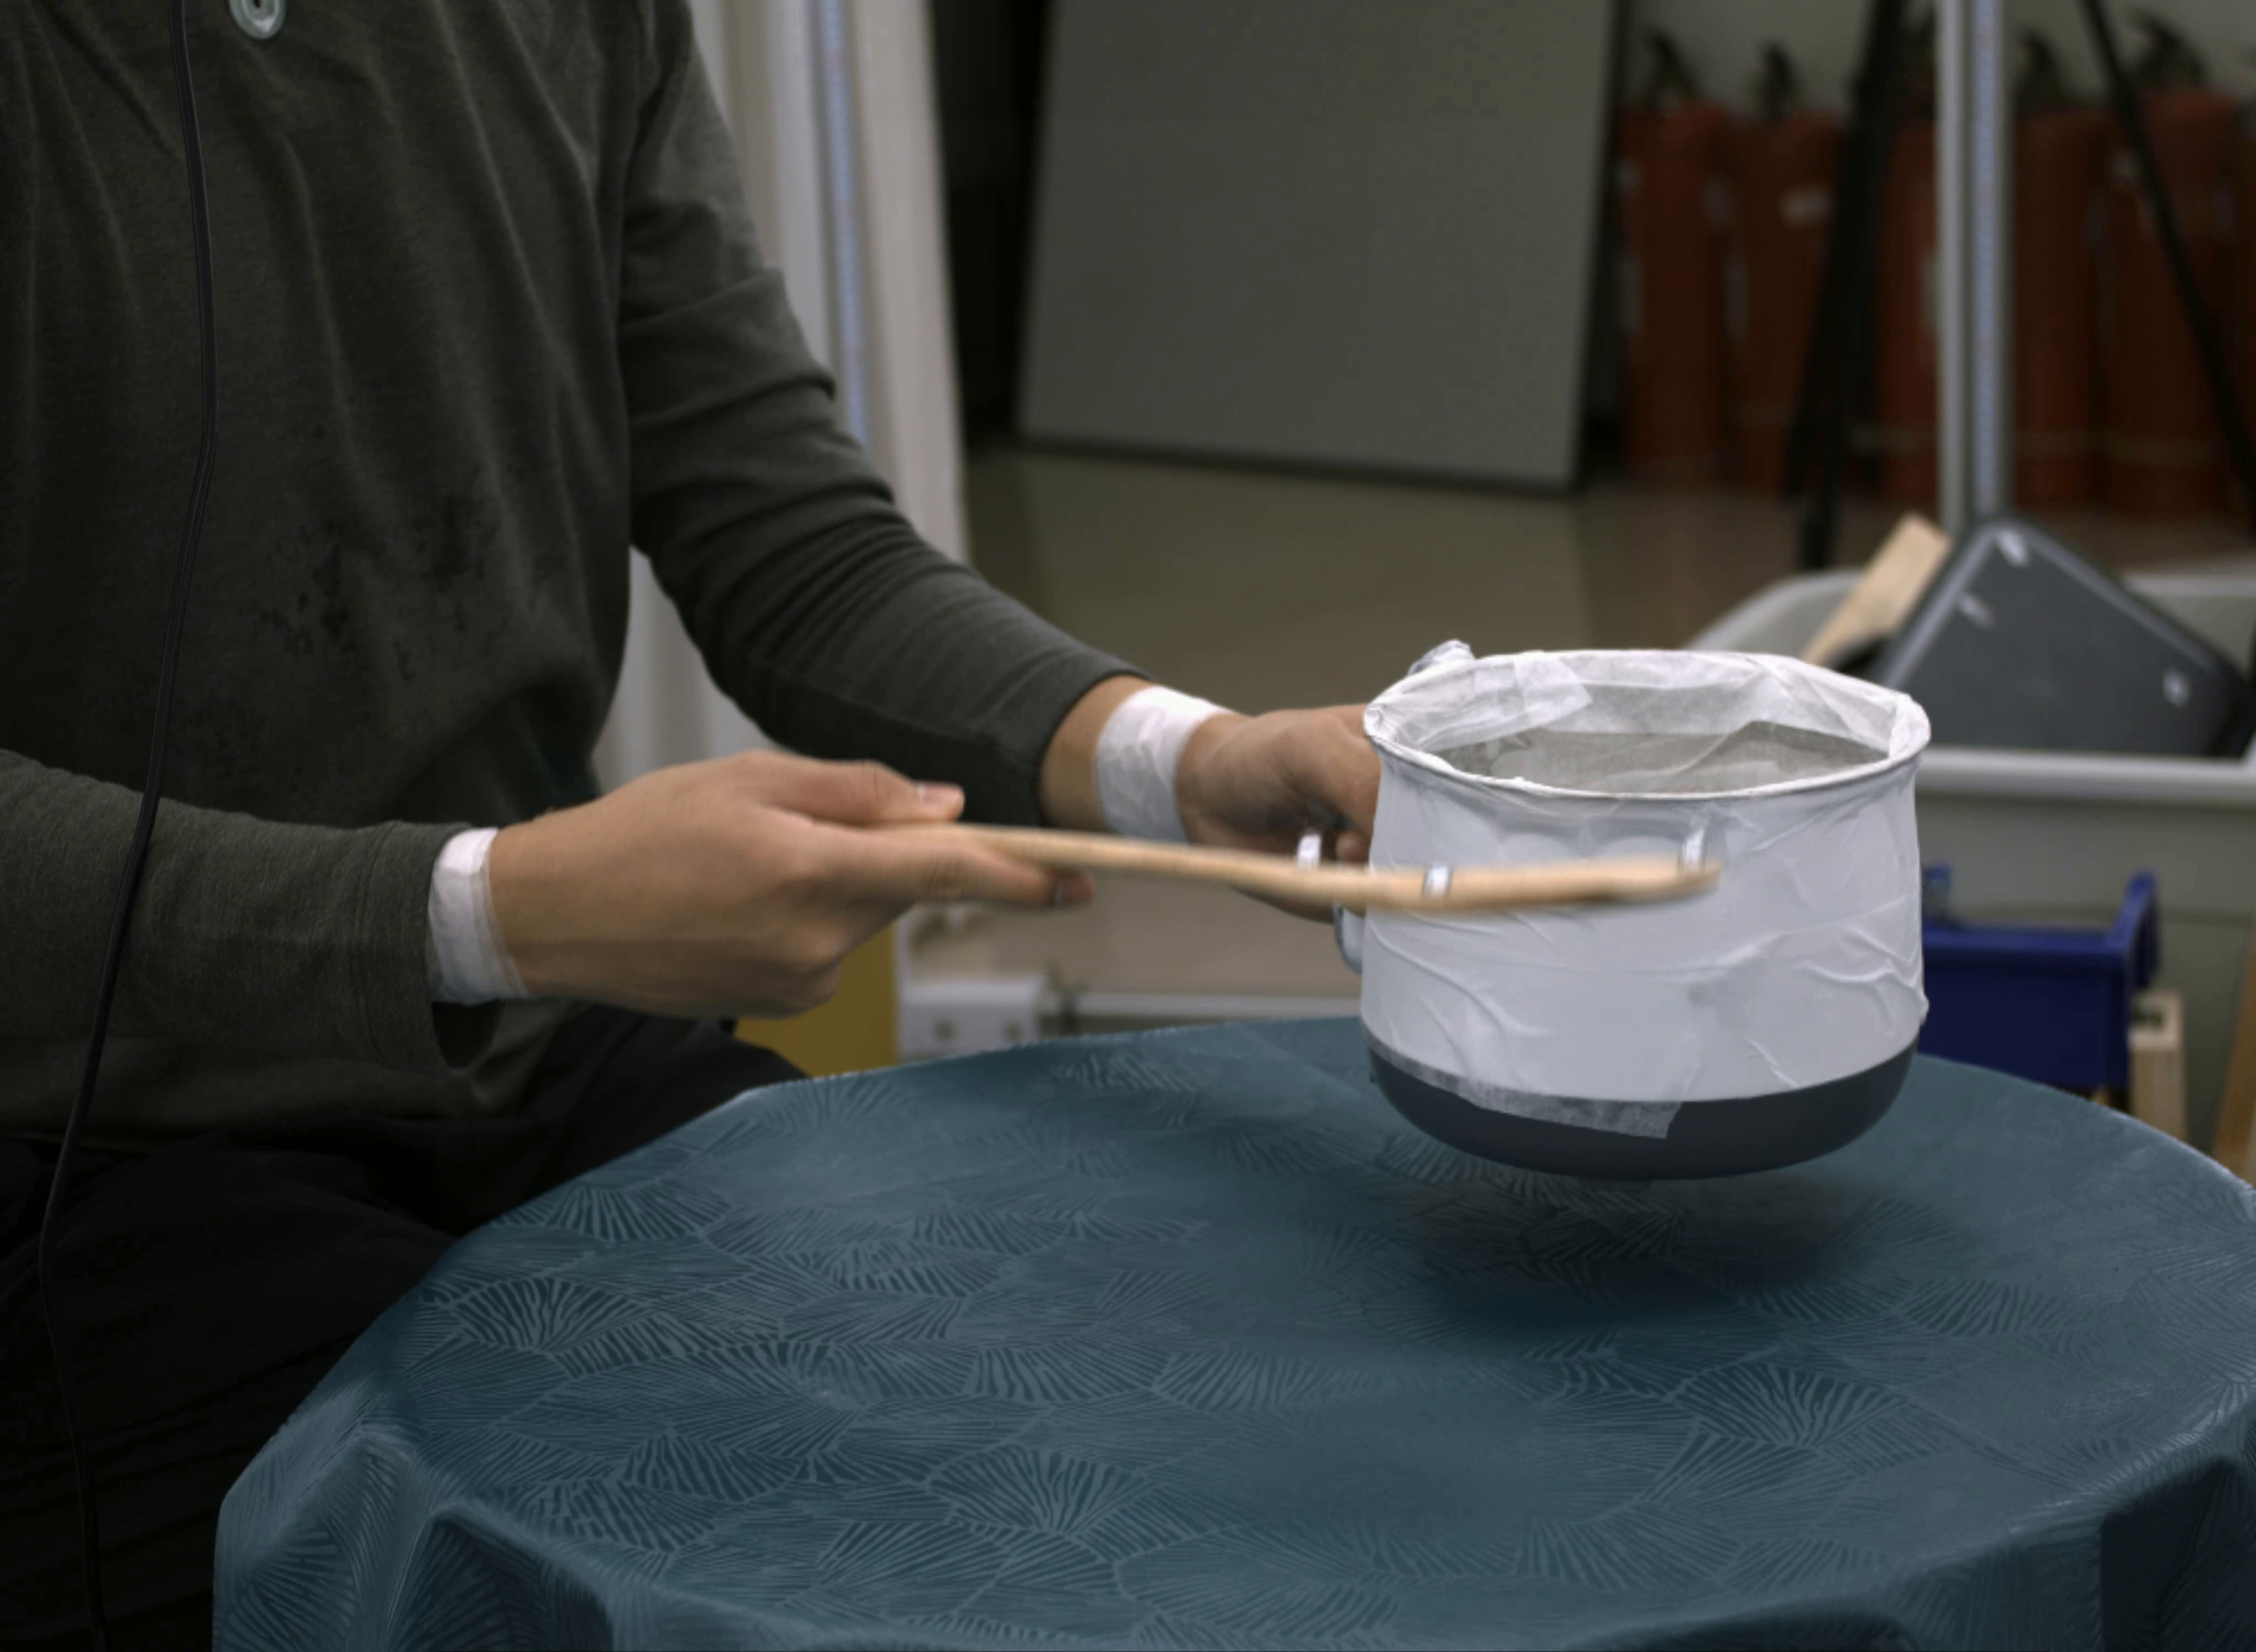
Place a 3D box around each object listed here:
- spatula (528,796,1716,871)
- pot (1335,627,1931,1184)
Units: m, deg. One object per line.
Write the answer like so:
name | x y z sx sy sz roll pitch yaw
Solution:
spatula | -0.014 0.000 1.578 0.392 0.019 0.094 3 3 29
pot | 0.144 0.018 1.699 0.175 0.138 0.236 -10 18 -33
